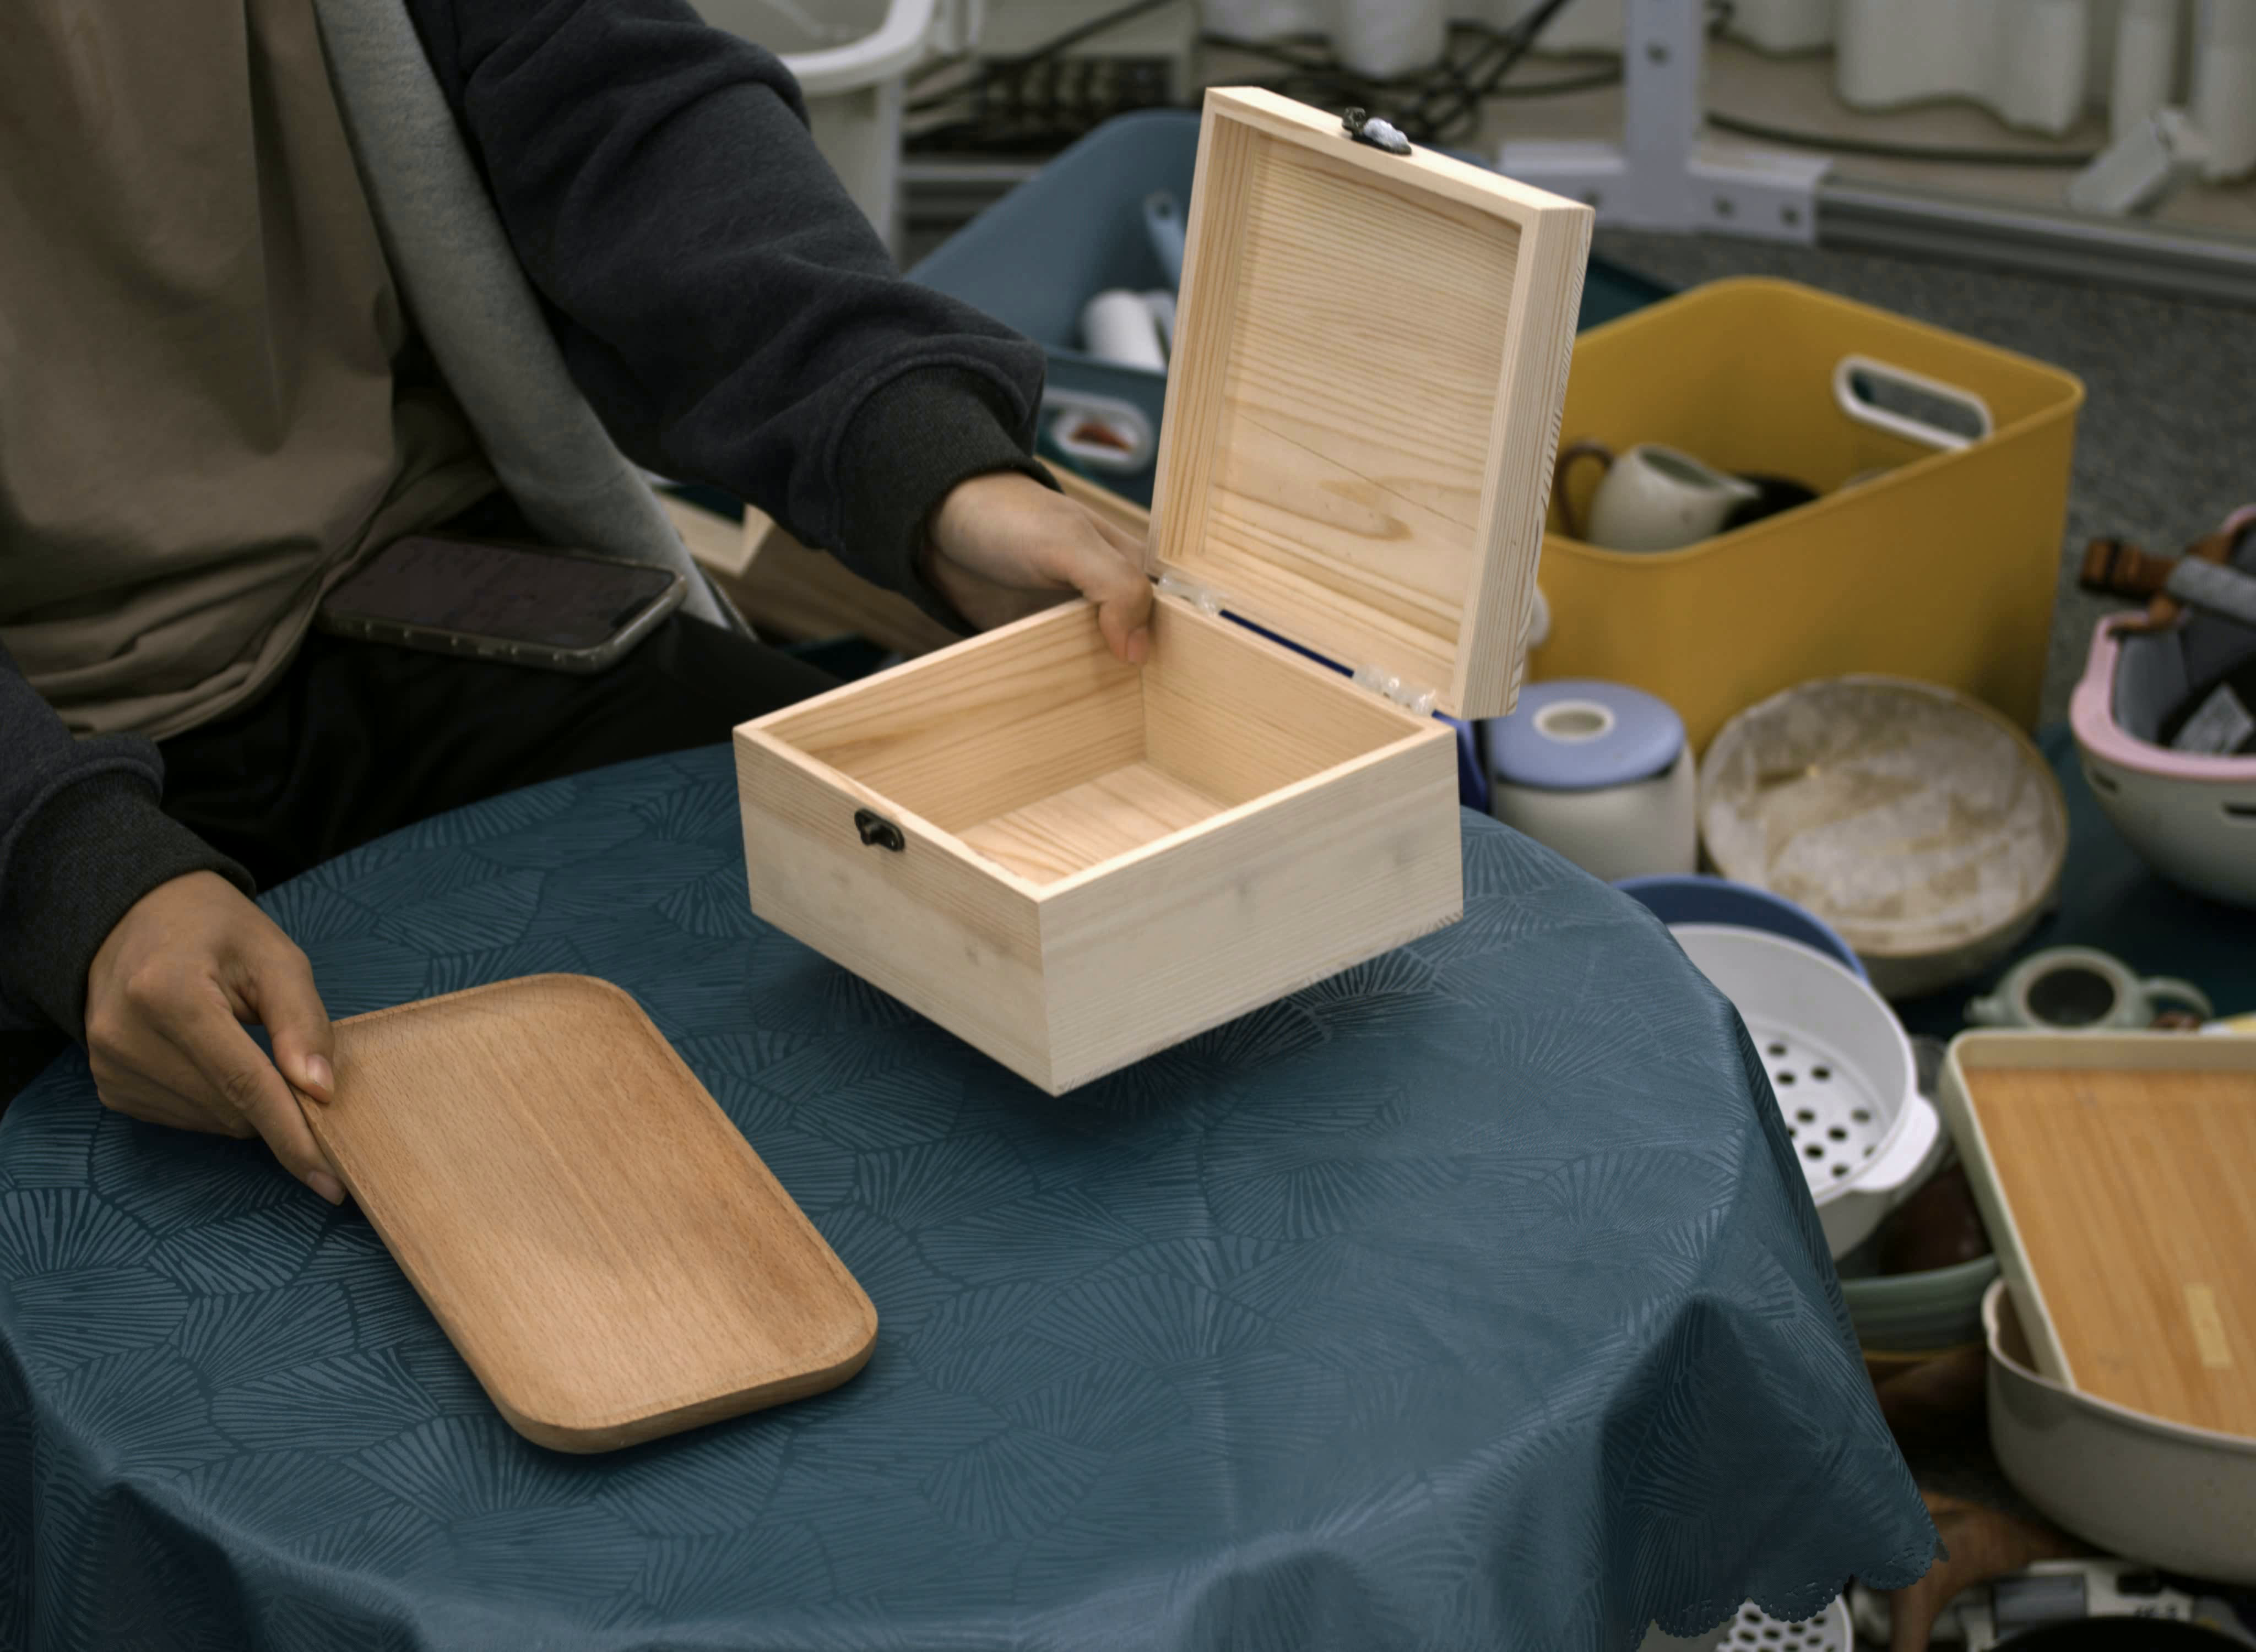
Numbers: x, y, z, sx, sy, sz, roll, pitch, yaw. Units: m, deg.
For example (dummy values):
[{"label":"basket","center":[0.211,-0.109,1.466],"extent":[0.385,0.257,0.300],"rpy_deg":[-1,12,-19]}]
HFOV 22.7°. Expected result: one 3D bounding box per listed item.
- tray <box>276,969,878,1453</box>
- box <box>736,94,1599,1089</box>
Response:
[{"label":"tray","center":[-0.183,0.123,1.833],"extent":[0.131,0.022,0.252],"rpy_deg":[-10,32,-25]},{"label":"box","center":[0.011,-0.090,1.943],"extent":[0.267,0.251,0.181],"rpy_deg":[-21,27,-33]}]
